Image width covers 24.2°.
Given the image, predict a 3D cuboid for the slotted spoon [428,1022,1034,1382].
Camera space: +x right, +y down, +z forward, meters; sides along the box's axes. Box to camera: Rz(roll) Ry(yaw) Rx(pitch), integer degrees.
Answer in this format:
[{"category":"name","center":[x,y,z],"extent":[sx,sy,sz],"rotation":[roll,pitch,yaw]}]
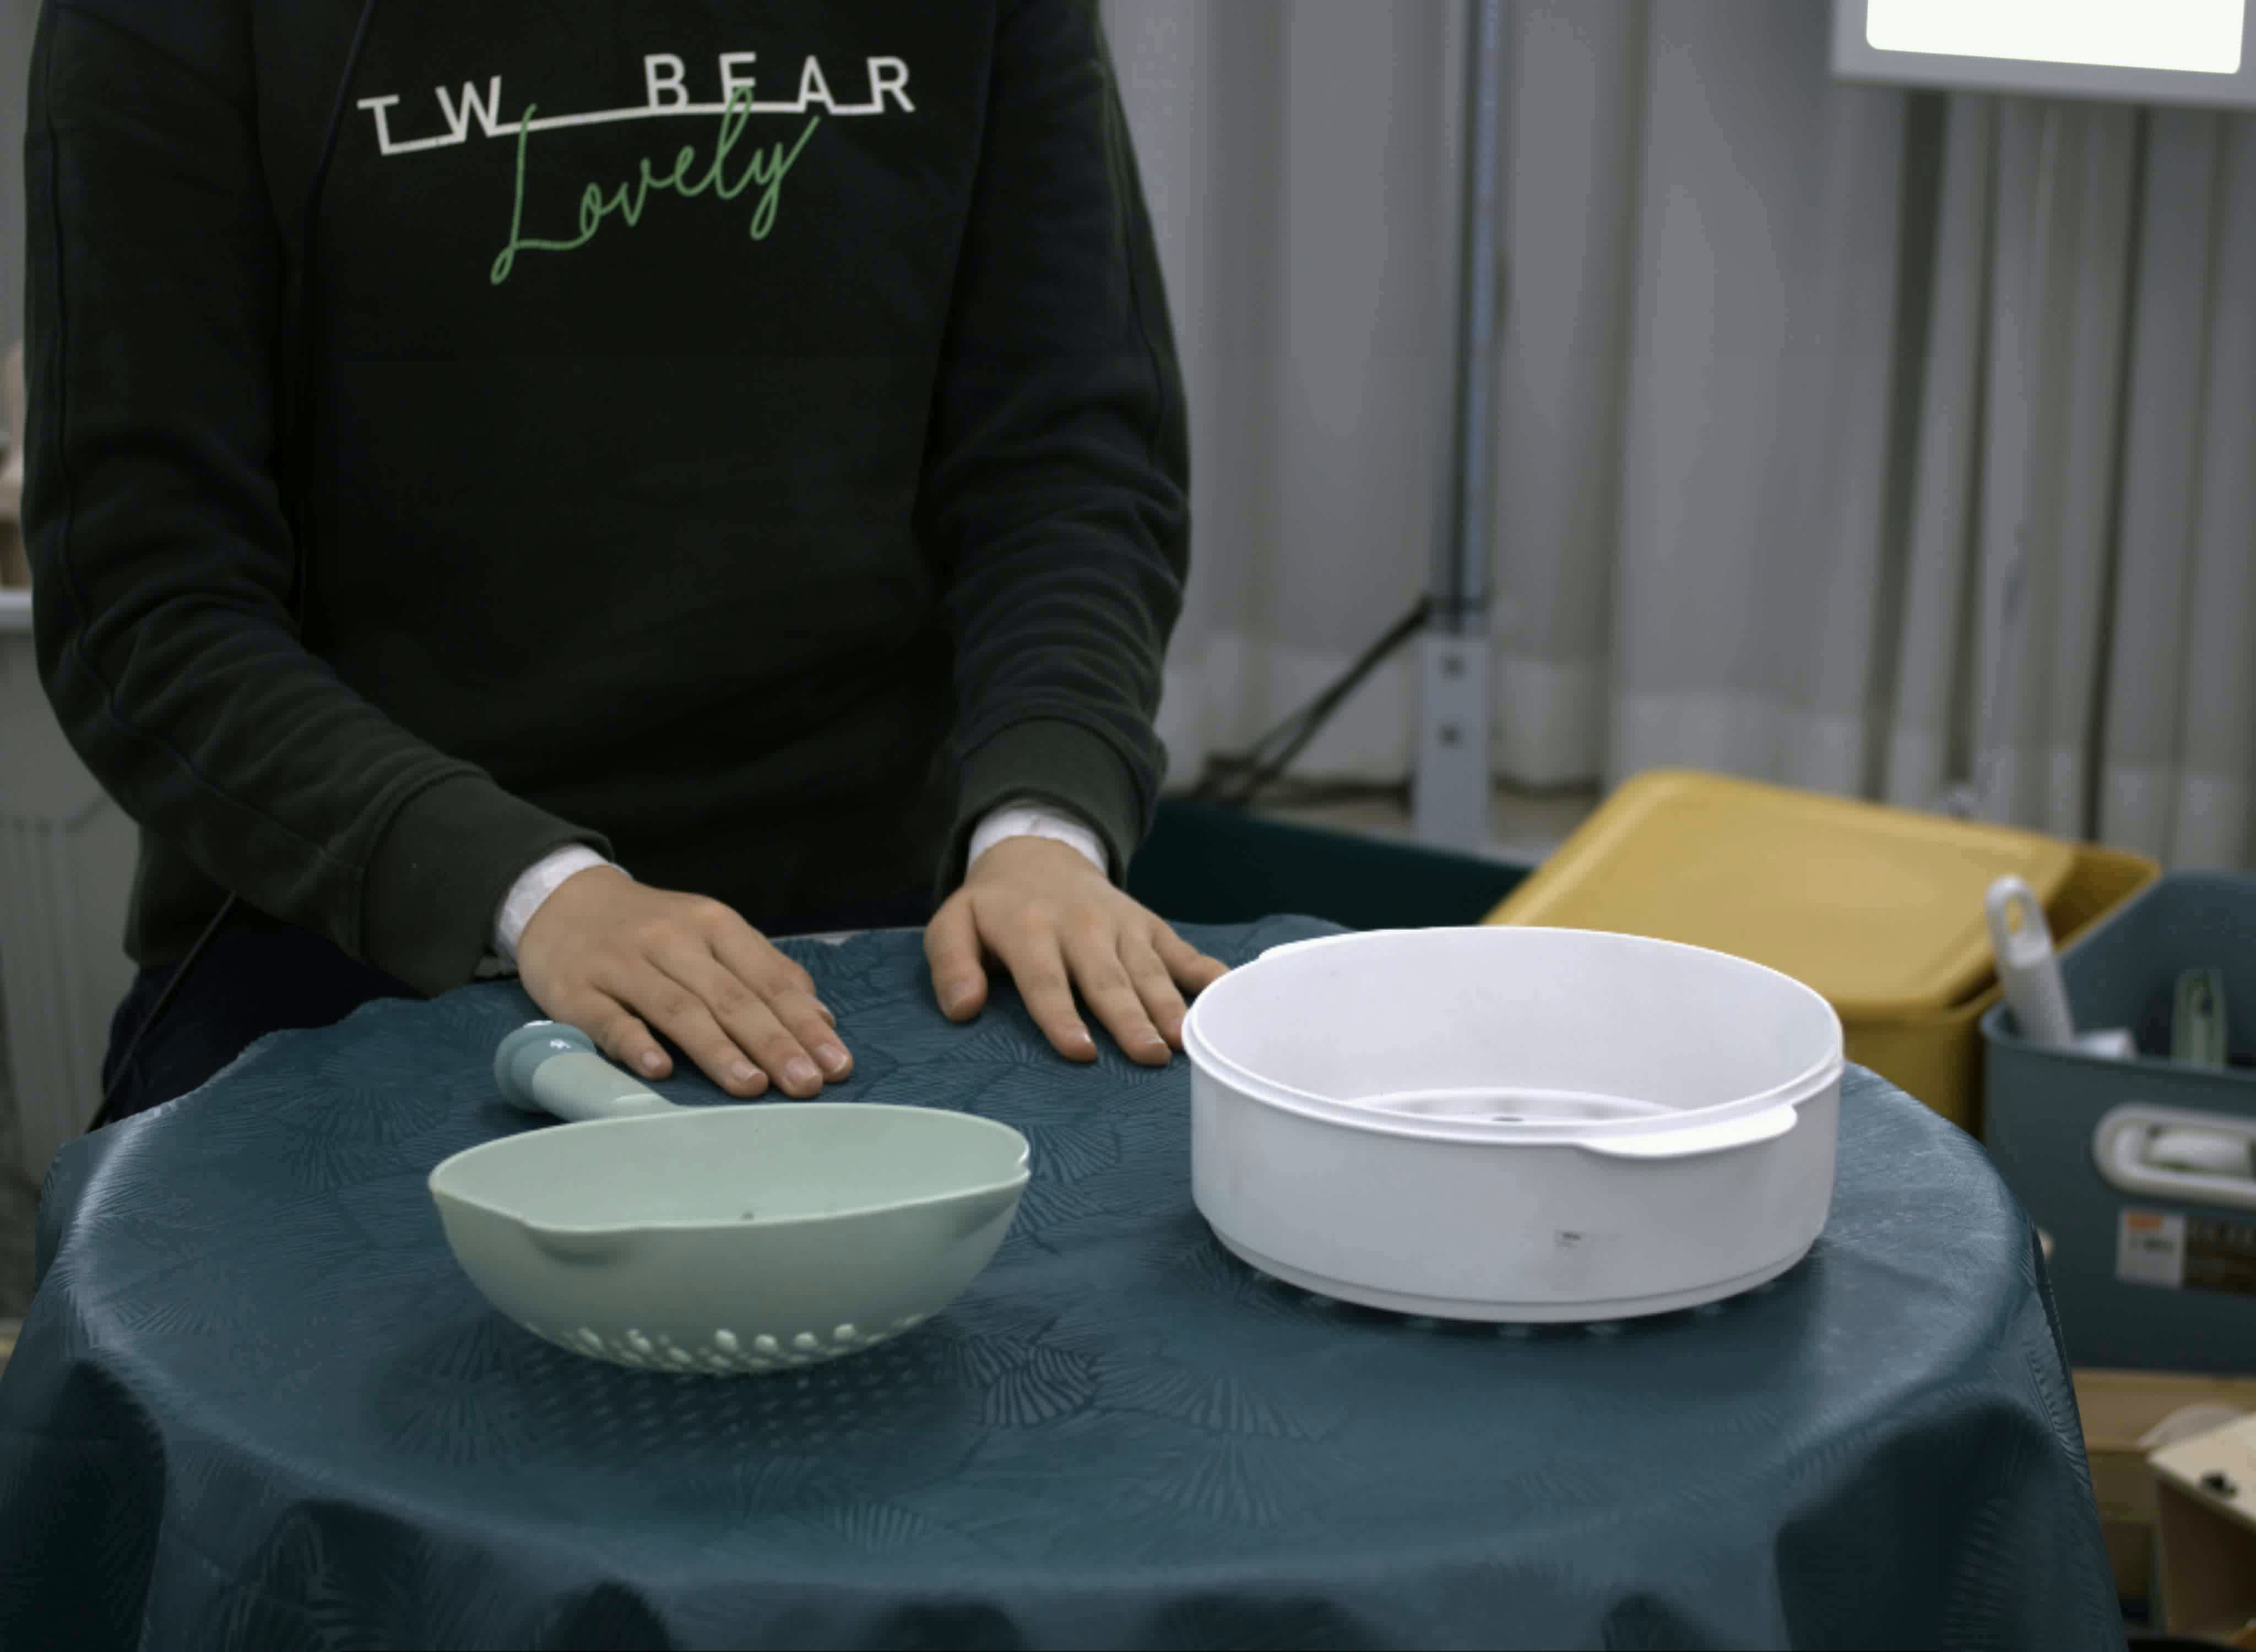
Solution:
[{"category":"slotted spoon","center":[-0.141,0.095,1.564],"extent":[0.170,0.076,0.355],"rotation":[-4,17,-18]}]

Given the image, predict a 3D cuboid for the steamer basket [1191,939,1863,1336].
[{"category":"steamer basket","center":[0.119,0.093,1.583],"extent":[0.203,0.070,0.227],"rotation":[-7,18,-28]}]
